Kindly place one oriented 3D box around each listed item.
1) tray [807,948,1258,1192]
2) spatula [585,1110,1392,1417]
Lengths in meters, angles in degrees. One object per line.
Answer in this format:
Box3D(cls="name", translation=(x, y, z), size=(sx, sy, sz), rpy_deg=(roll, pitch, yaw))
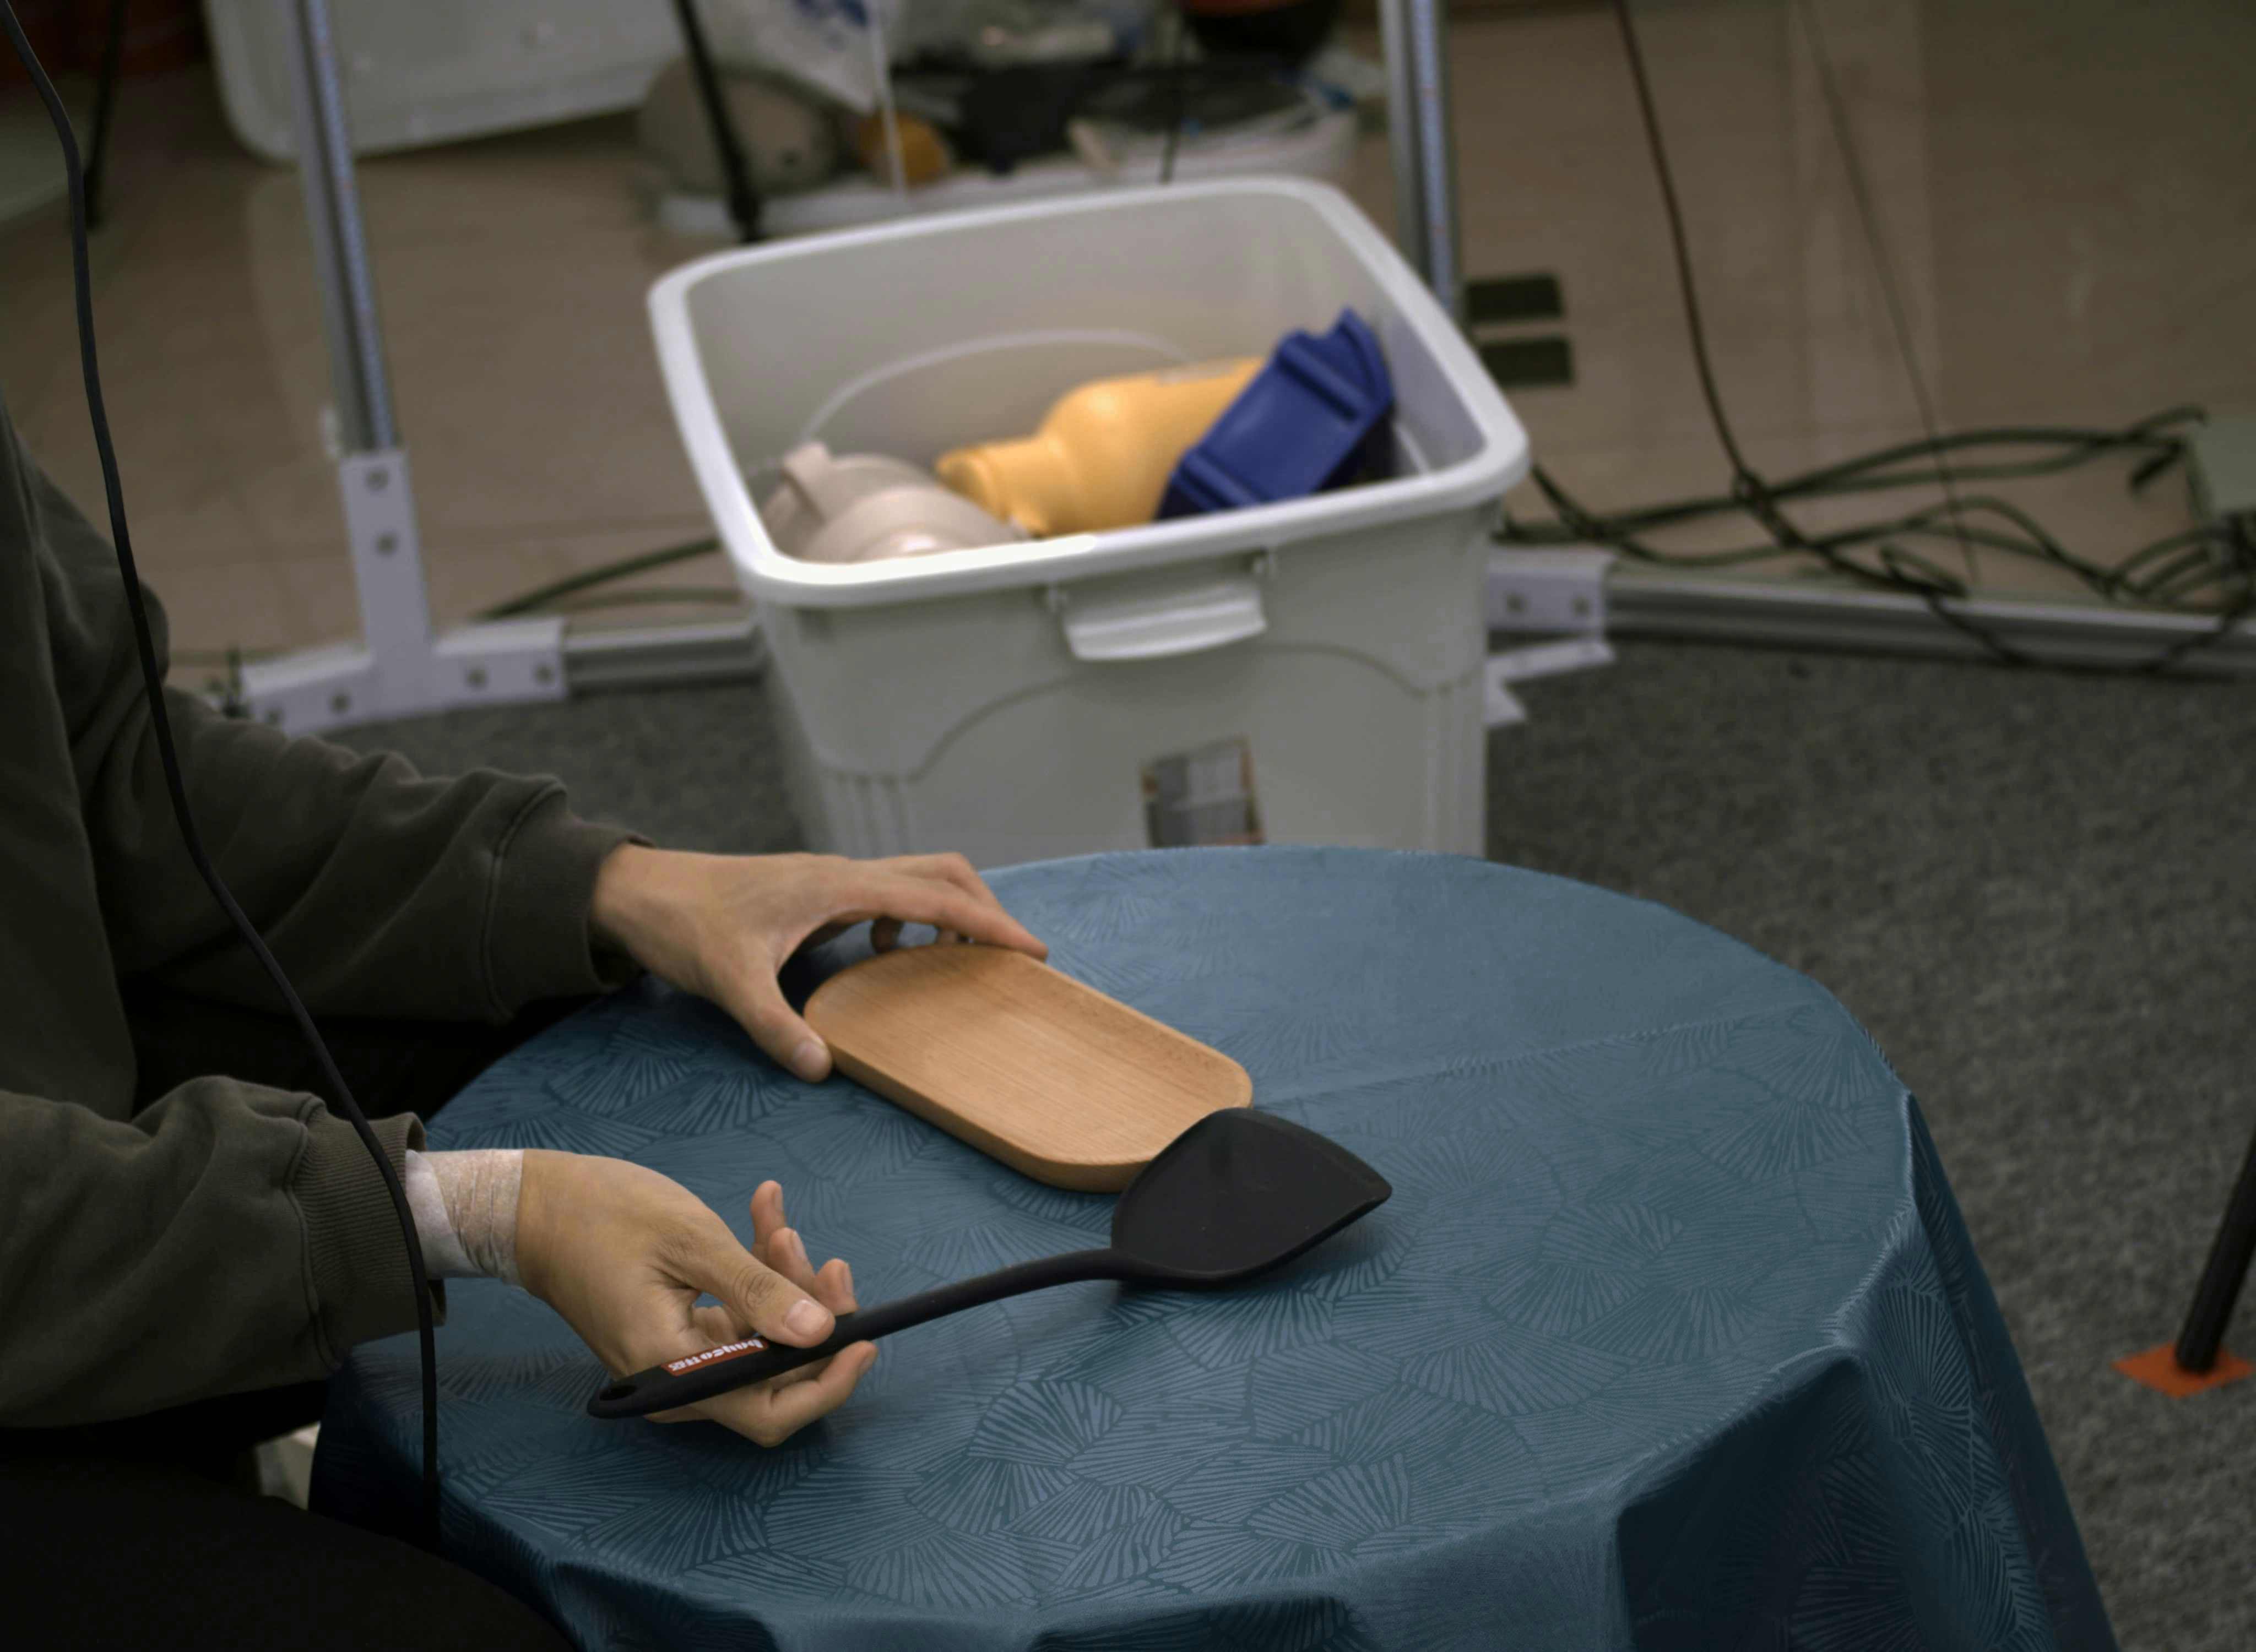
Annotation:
Box3D(cls="tray", translation=(-0.039, 0.095, 2.231), size=(0.101, 0.020, 0.229), rpy_deg=(-24, 31, -31))
Box3D(cls="spatula", translation=(-0.055, 0.161, 2.034), size=(0.325, 0.041, 0.099), rpy_deg=(-11, 23, -36))
